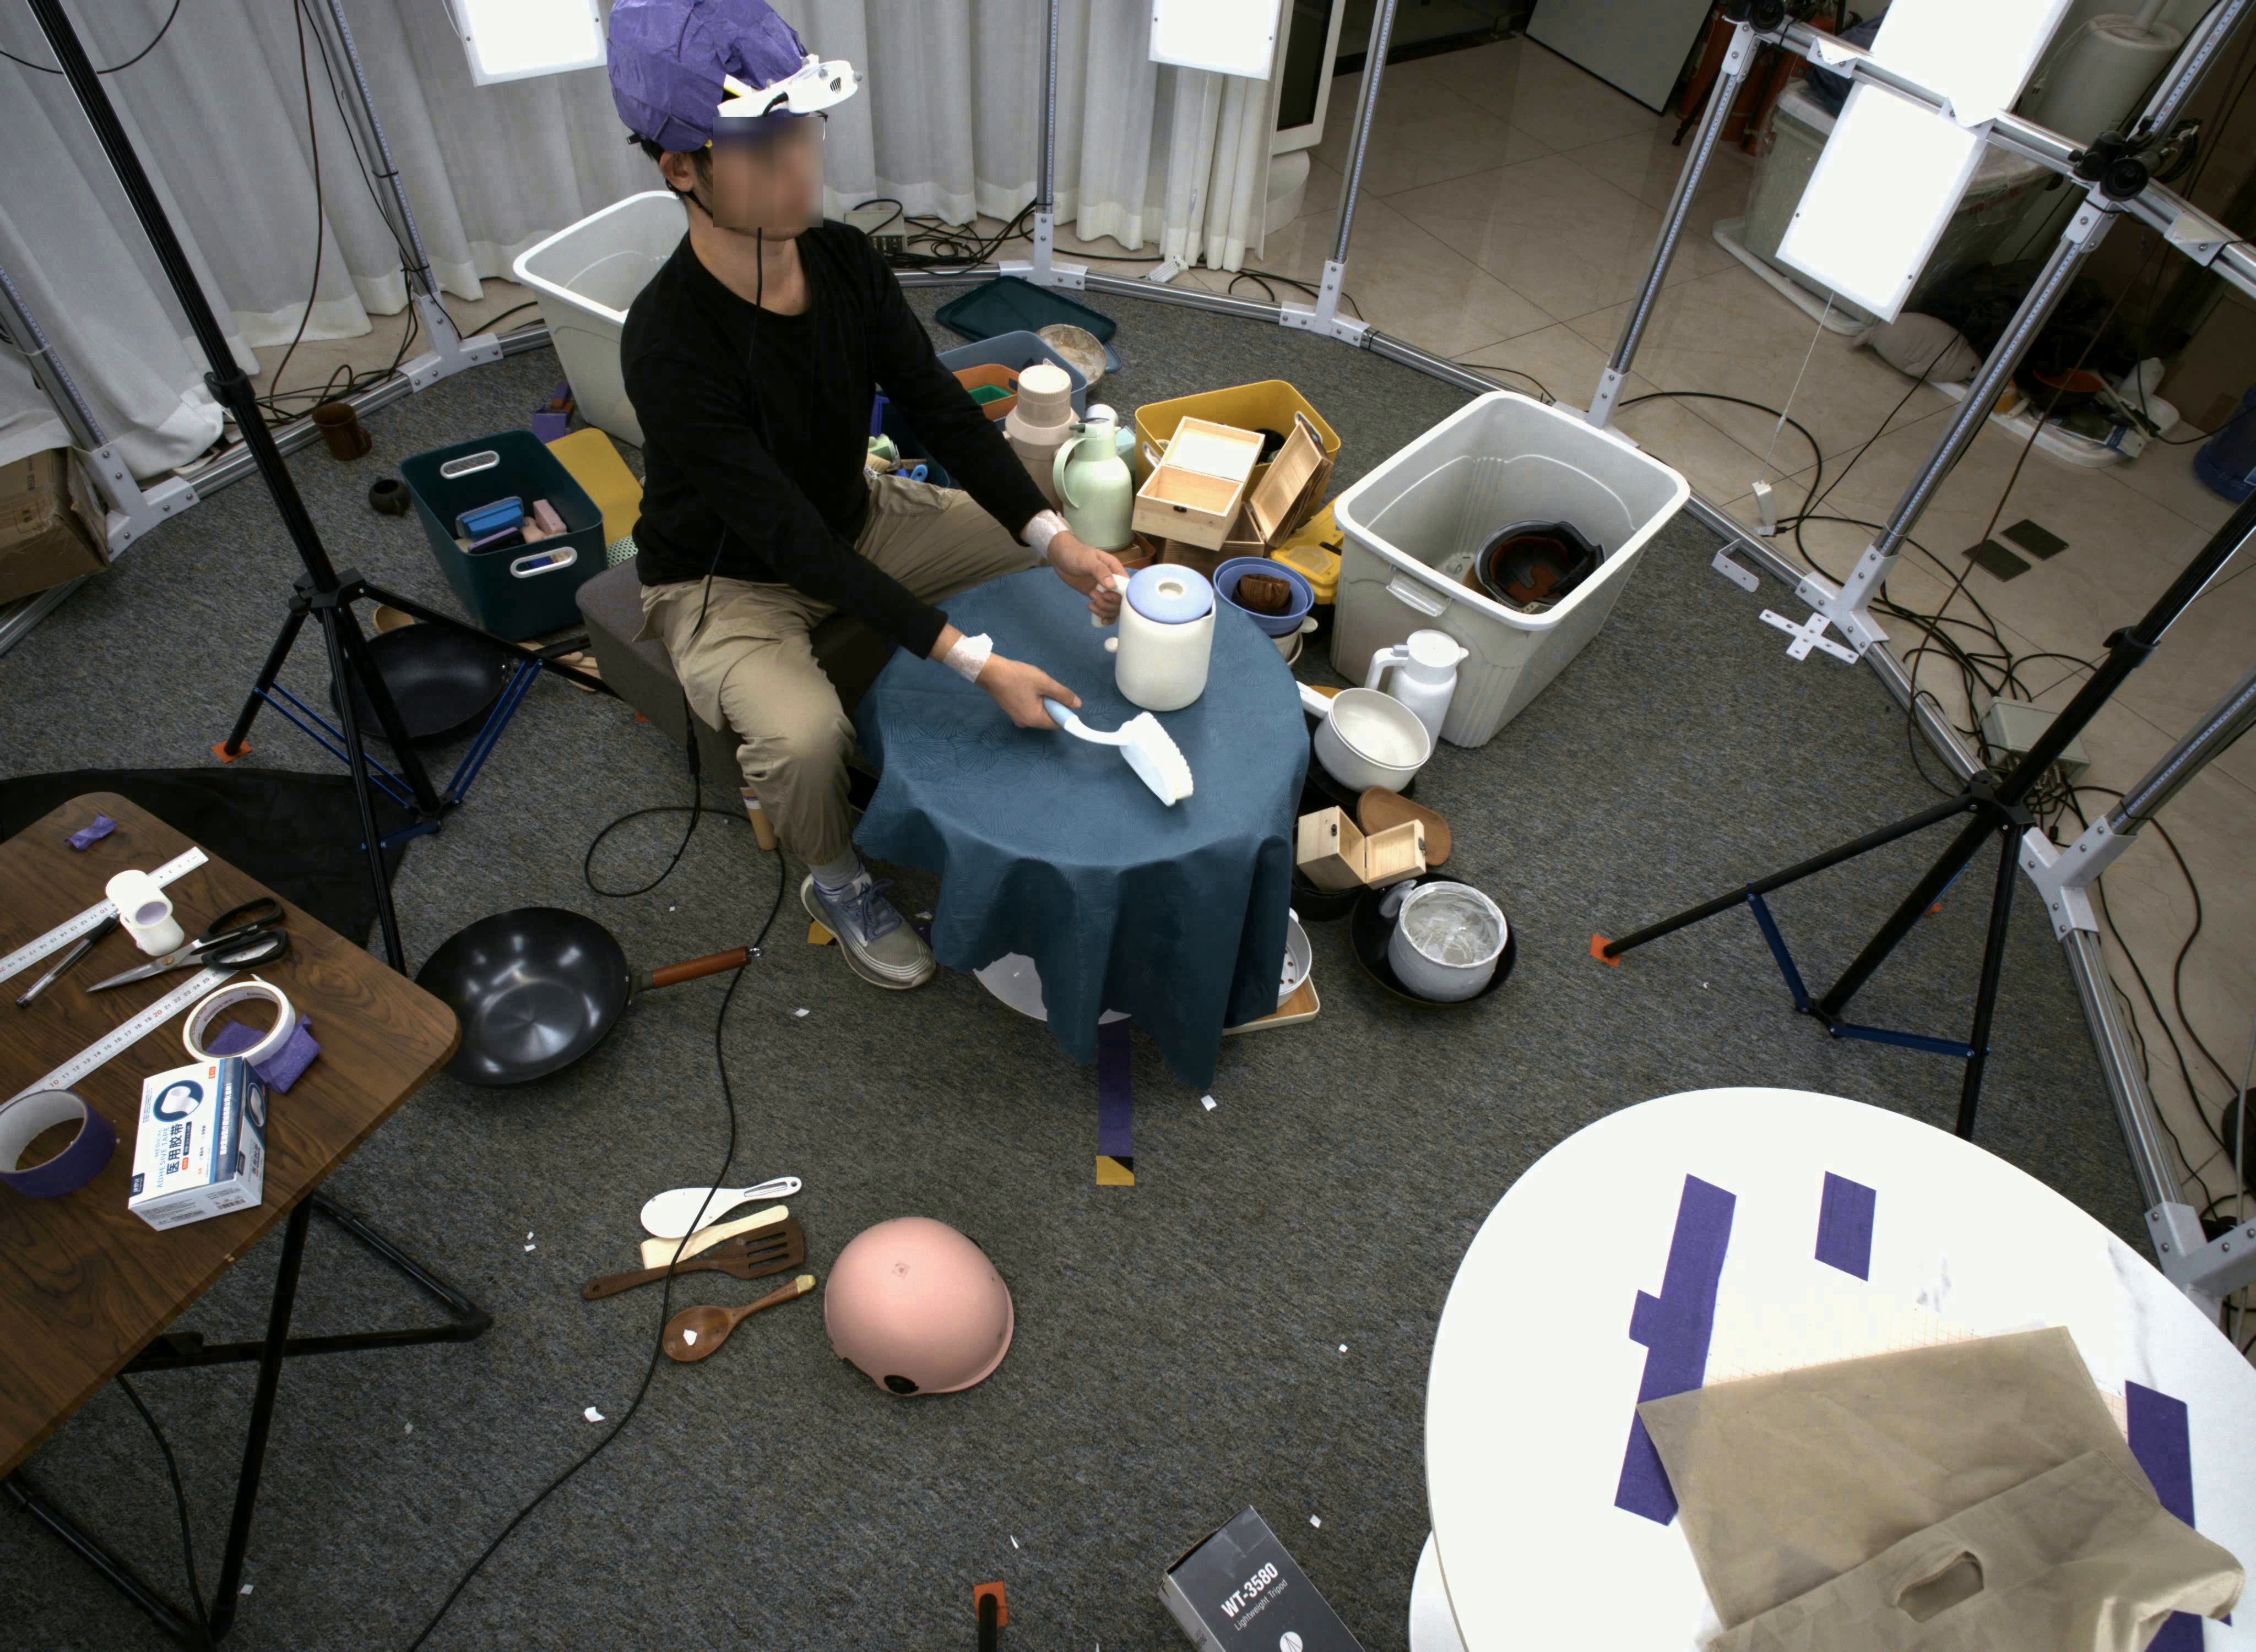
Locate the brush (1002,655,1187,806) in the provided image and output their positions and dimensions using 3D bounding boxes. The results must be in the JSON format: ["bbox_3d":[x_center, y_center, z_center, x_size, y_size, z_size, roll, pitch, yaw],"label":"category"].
[{"bbox_3d":[-0.035,-0.149,1.730,0.330,0.082,0.084,41,24,21],"label":"brush"}]

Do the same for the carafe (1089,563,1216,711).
[{"bbox_3d":[0.030,-0.273,1.798,0.193,0.178,0.134,26,52,18],"label":"carafe"}]
